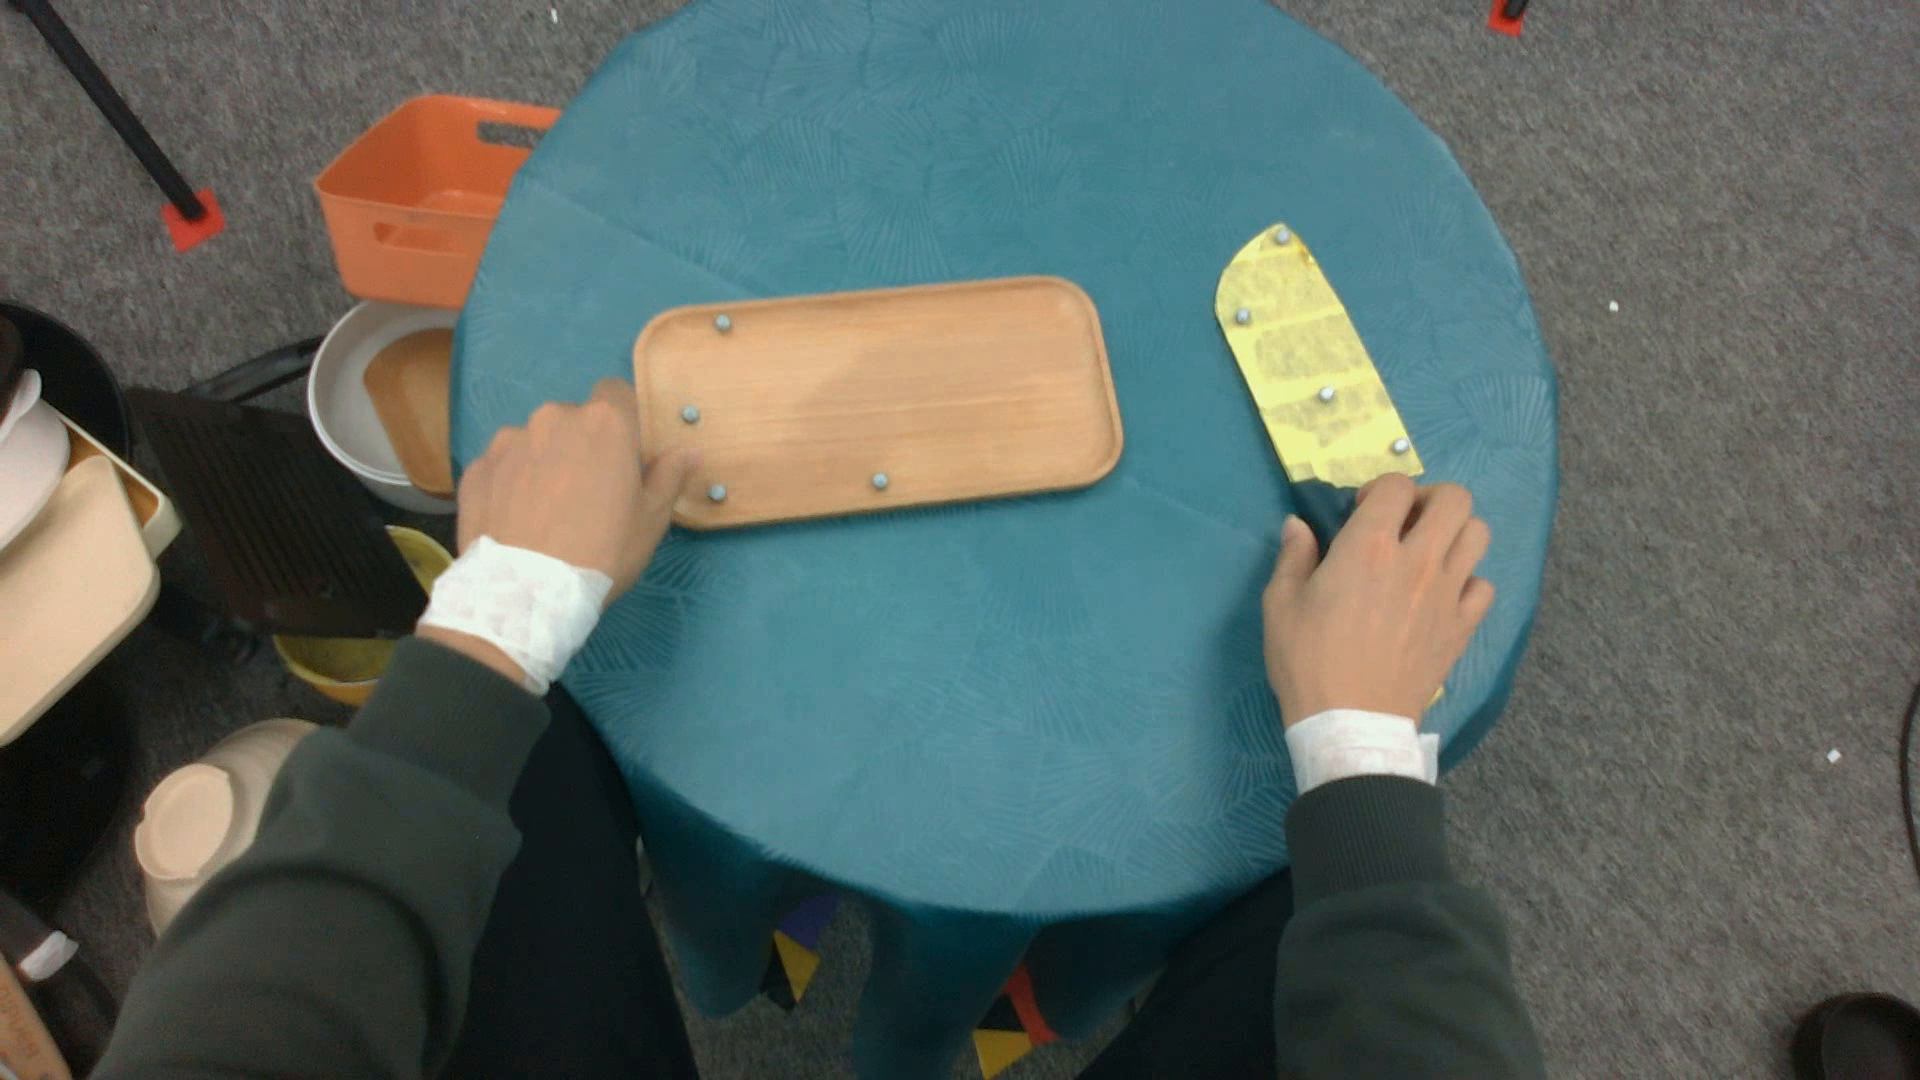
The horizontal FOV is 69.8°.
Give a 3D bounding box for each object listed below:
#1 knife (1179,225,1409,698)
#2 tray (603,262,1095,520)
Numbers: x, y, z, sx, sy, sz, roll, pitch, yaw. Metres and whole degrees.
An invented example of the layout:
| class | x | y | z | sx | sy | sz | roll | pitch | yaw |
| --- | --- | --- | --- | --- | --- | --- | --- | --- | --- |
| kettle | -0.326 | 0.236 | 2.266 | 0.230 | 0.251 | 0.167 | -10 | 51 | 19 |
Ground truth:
| class | x | y | z | sx | sy | sz | roll | pitch | yaw |
| --- | --- | --- | --- | --- | --- | --- | --- | --- | --- |
| knife | 0.189 | -0.054 | 0.748 | 0.081 | 0.027 | 0.290 | -13 | 69 | -8 |
| tray | -0.058 | -0.081 | 0.730 | 0.251 | 0.023 | 0.131 | -7 | 71 | -10 |
